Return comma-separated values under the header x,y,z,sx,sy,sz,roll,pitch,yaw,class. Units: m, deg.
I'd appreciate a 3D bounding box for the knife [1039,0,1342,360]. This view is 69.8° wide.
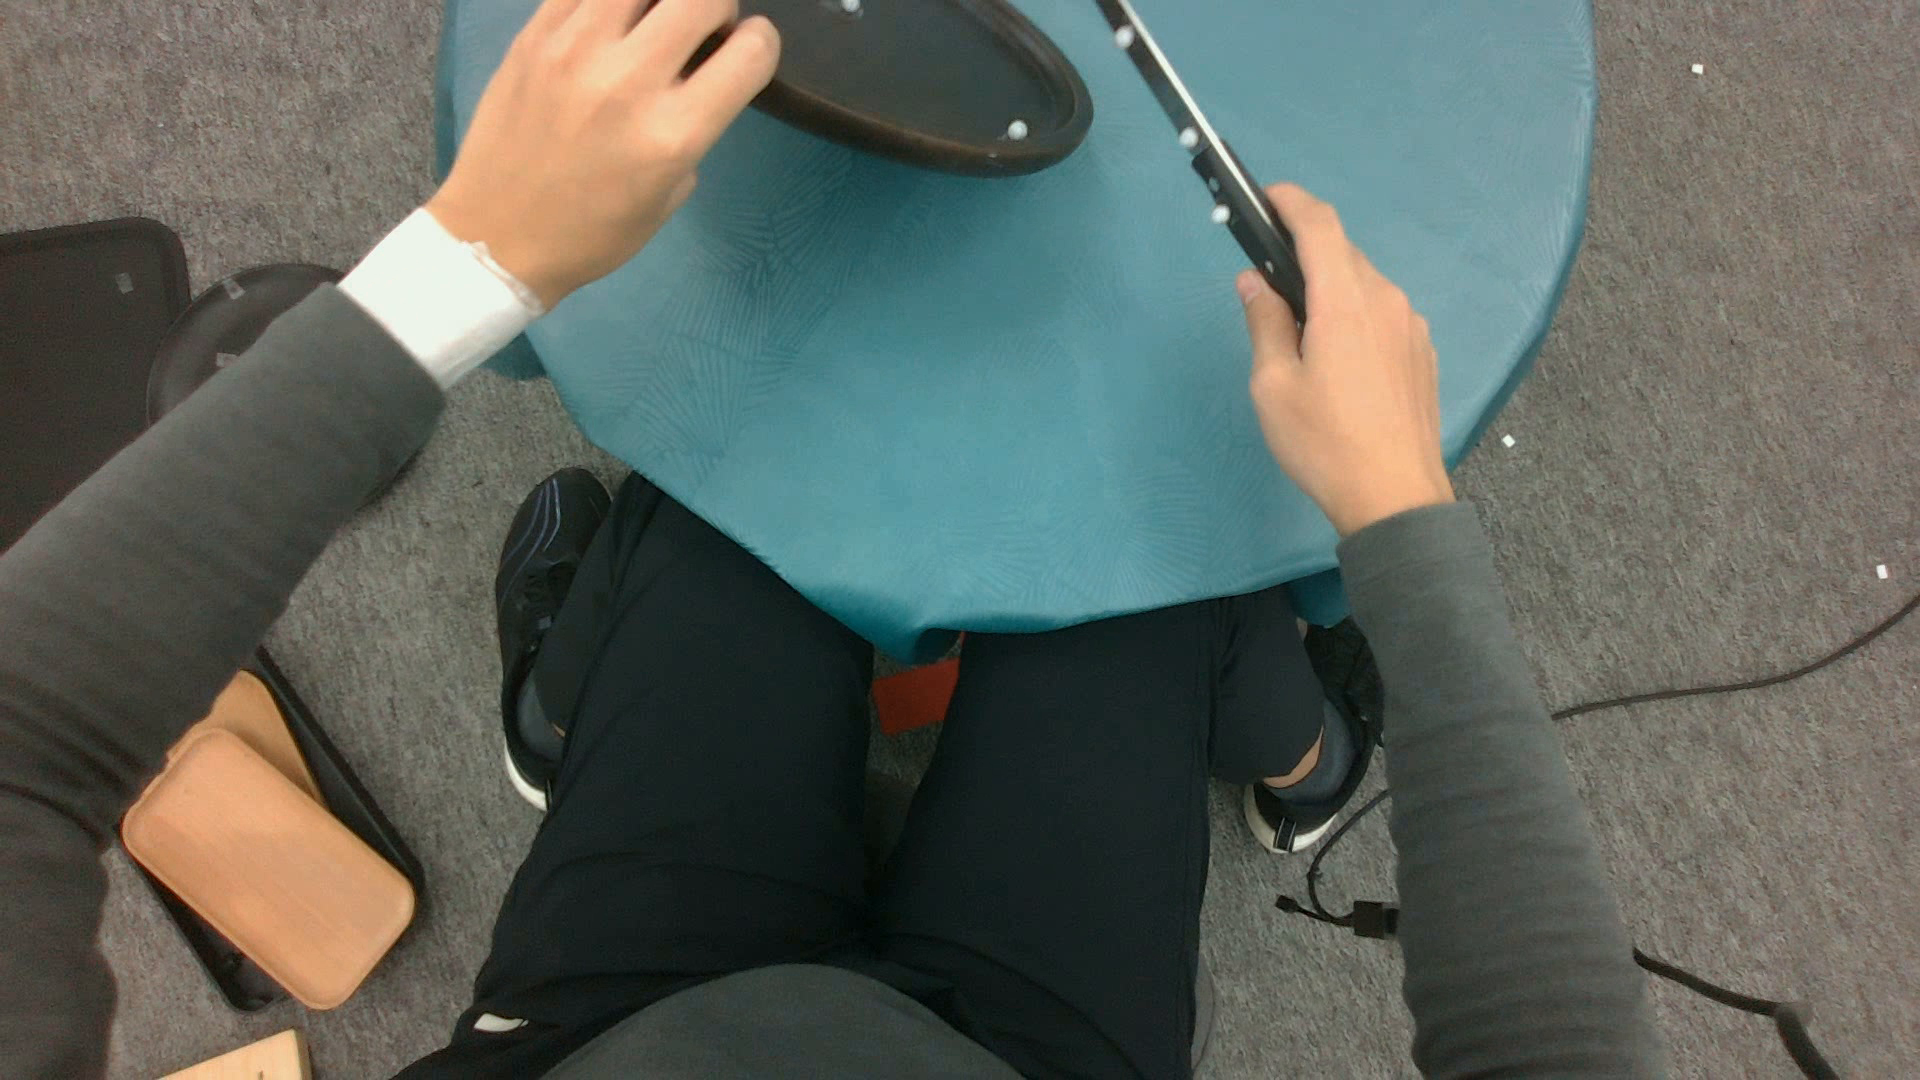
x,y,z,sx,sy,sz,roll,pitch,yaw,class
0.088,-0.172,0.590,0.016,0.024,0.238,-41,96,-9,knife

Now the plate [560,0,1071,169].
x,y,z,sx,sy,sz,roll,pitch,yaw,class
-0.068,-0.233,0.615,0.255,0.256,0.029,26,120,1,plate
